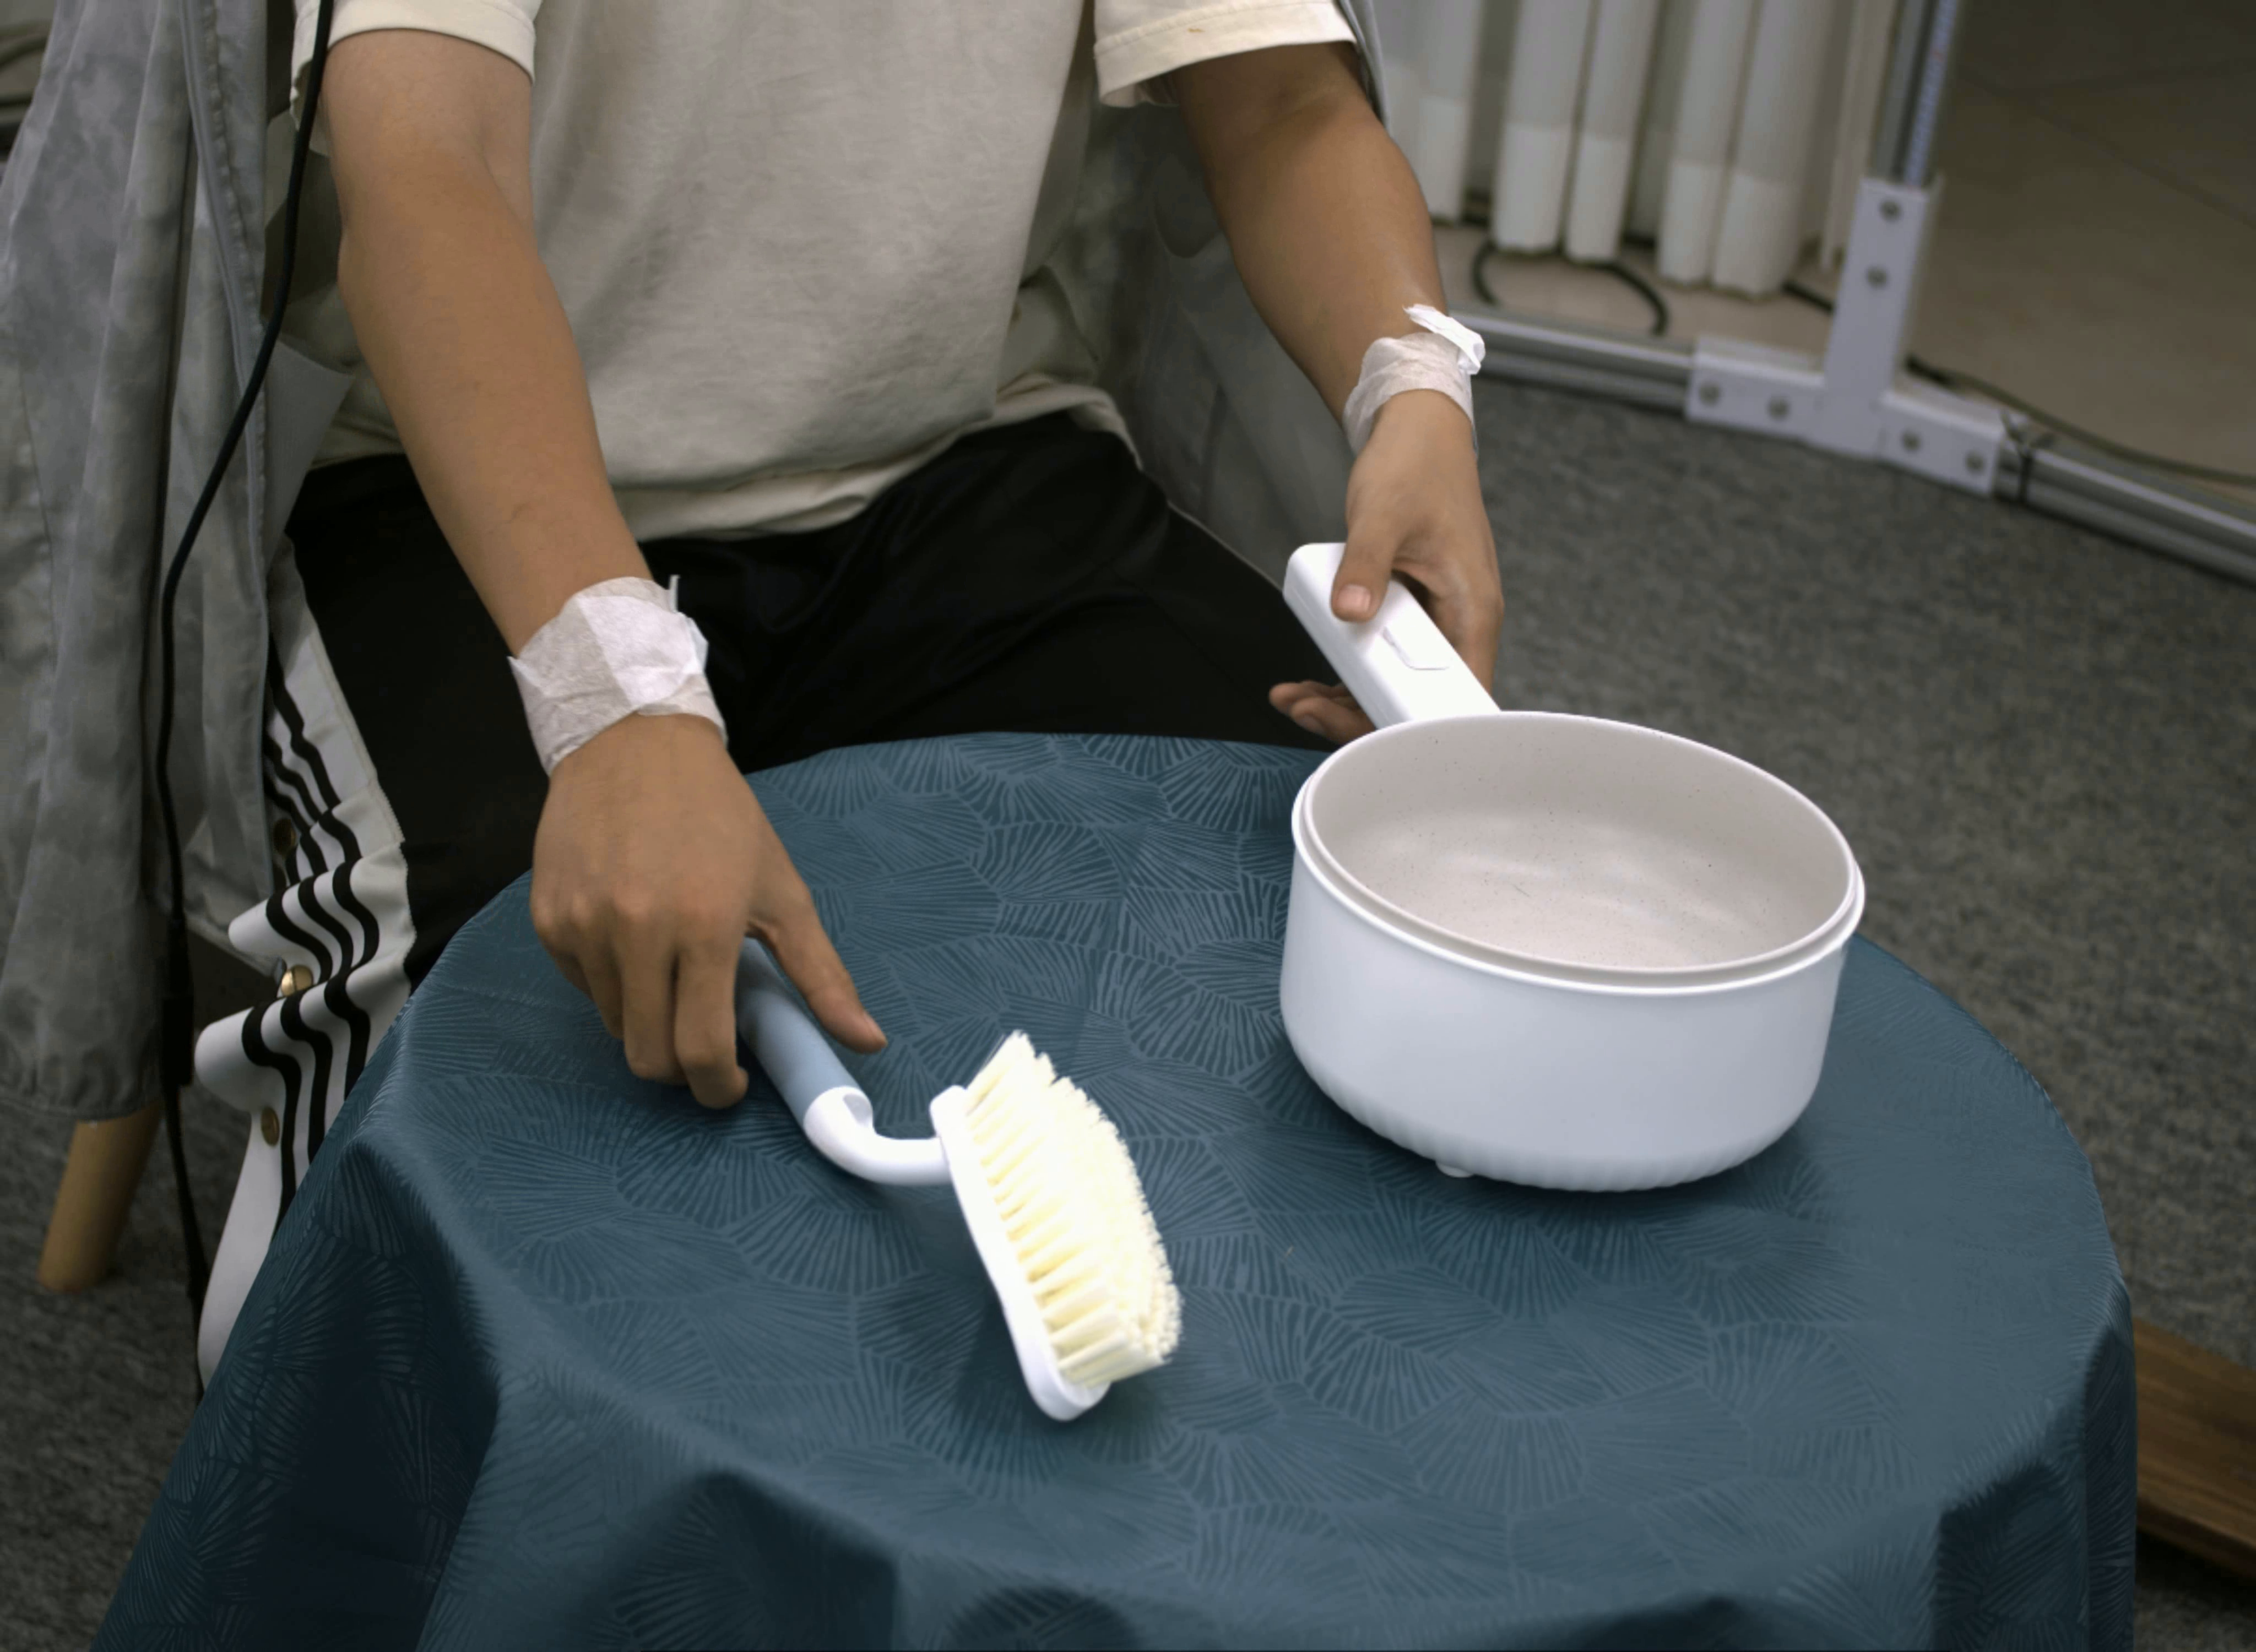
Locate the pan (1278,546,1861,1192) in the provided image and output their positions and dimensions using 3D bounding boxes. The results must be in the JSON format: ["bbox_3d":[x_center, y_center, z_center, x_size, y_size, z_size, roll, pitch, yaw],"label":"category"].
[{"bbox_3d":[0.129,0.013,1.942,0.200,0.102,0.358,-3,28,-18],"label":"pan"}]

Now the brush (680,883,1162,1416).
[{"bbox_3d":[-0.065,0.080,1.785,0.084,0.083,0.328,-11,32,-20],"label":"brush"}]
